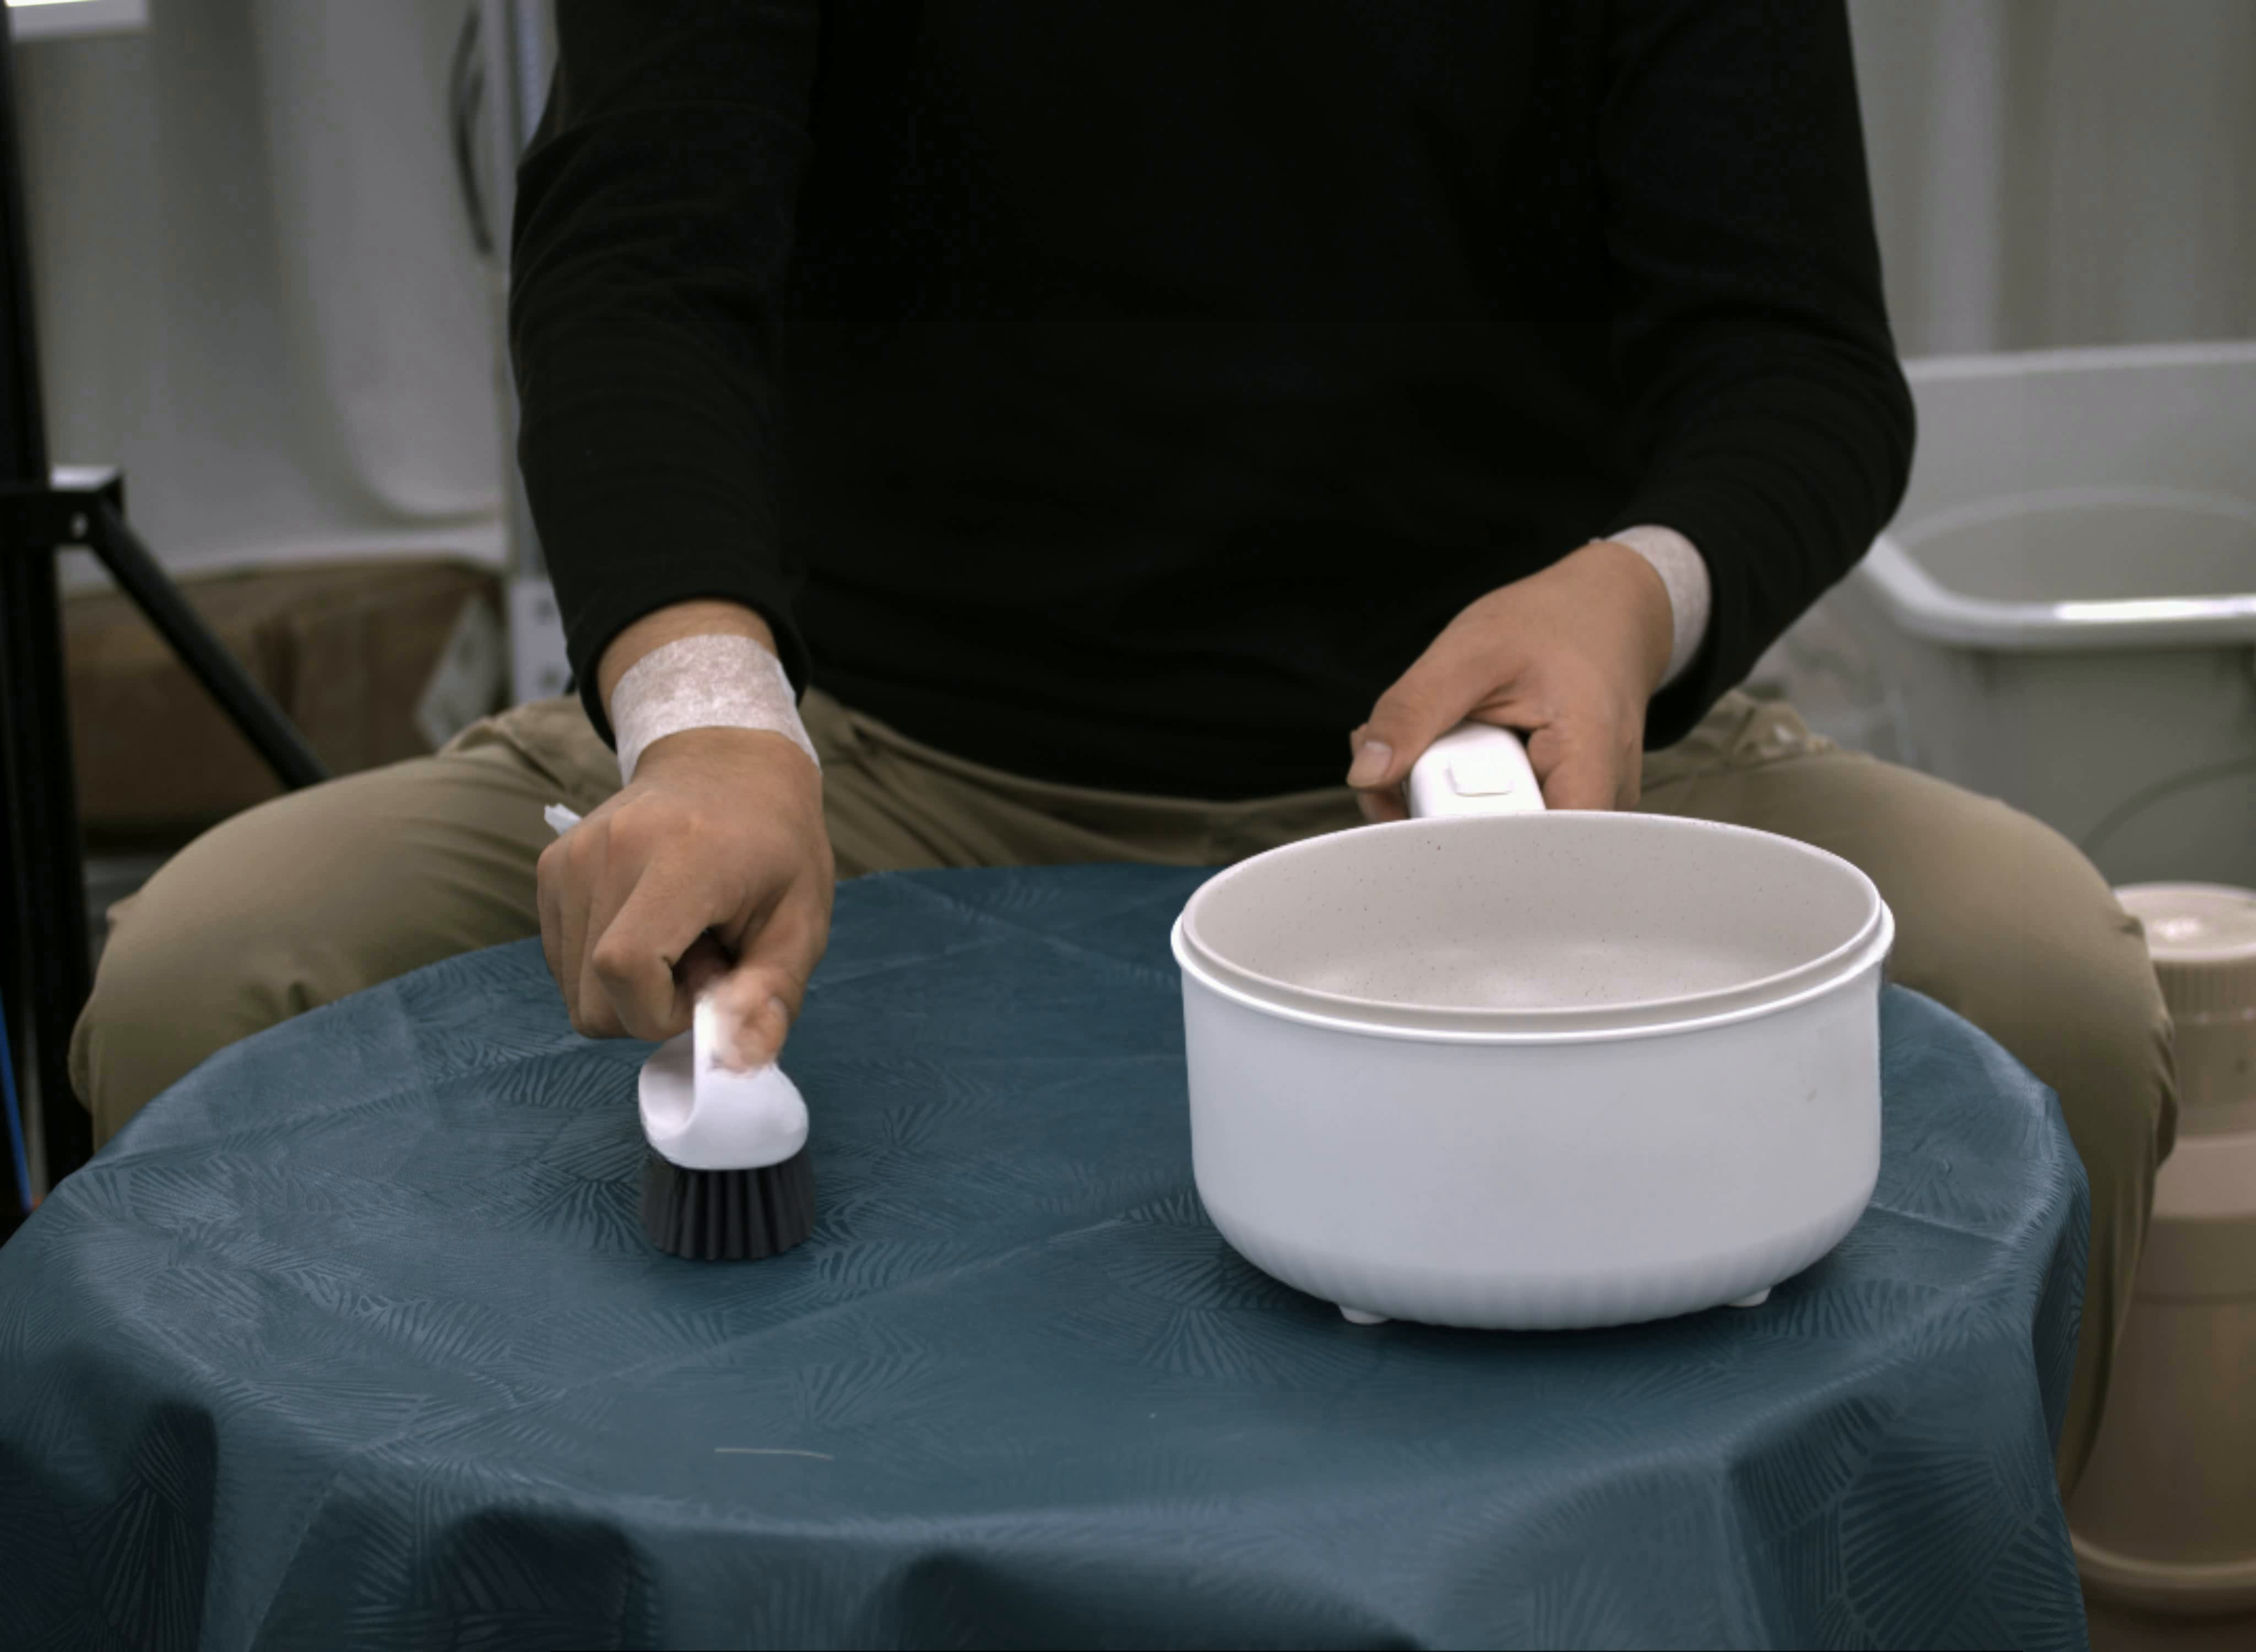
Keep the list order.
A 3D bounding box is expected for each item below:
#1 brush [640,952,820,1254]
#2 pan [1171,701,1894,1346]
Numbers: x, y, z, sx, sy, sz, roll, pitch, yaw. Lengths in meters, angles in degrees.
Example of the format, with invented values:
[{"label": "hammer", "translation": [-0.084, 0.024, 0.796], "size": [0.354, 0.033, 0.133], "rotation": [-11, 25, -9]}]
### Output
[{"label": "brush", "translation": [-0.118, 0.076, 1.555], "size": [0.050, 0.072, 0.100], "rotation": [-6, 16, -4]}, {"label": "pan", "translation": [0.112, 0.053, 1.560], "size": [0.200, 0.102, 0.356], "rotation": [-4, 15, 0]}]
